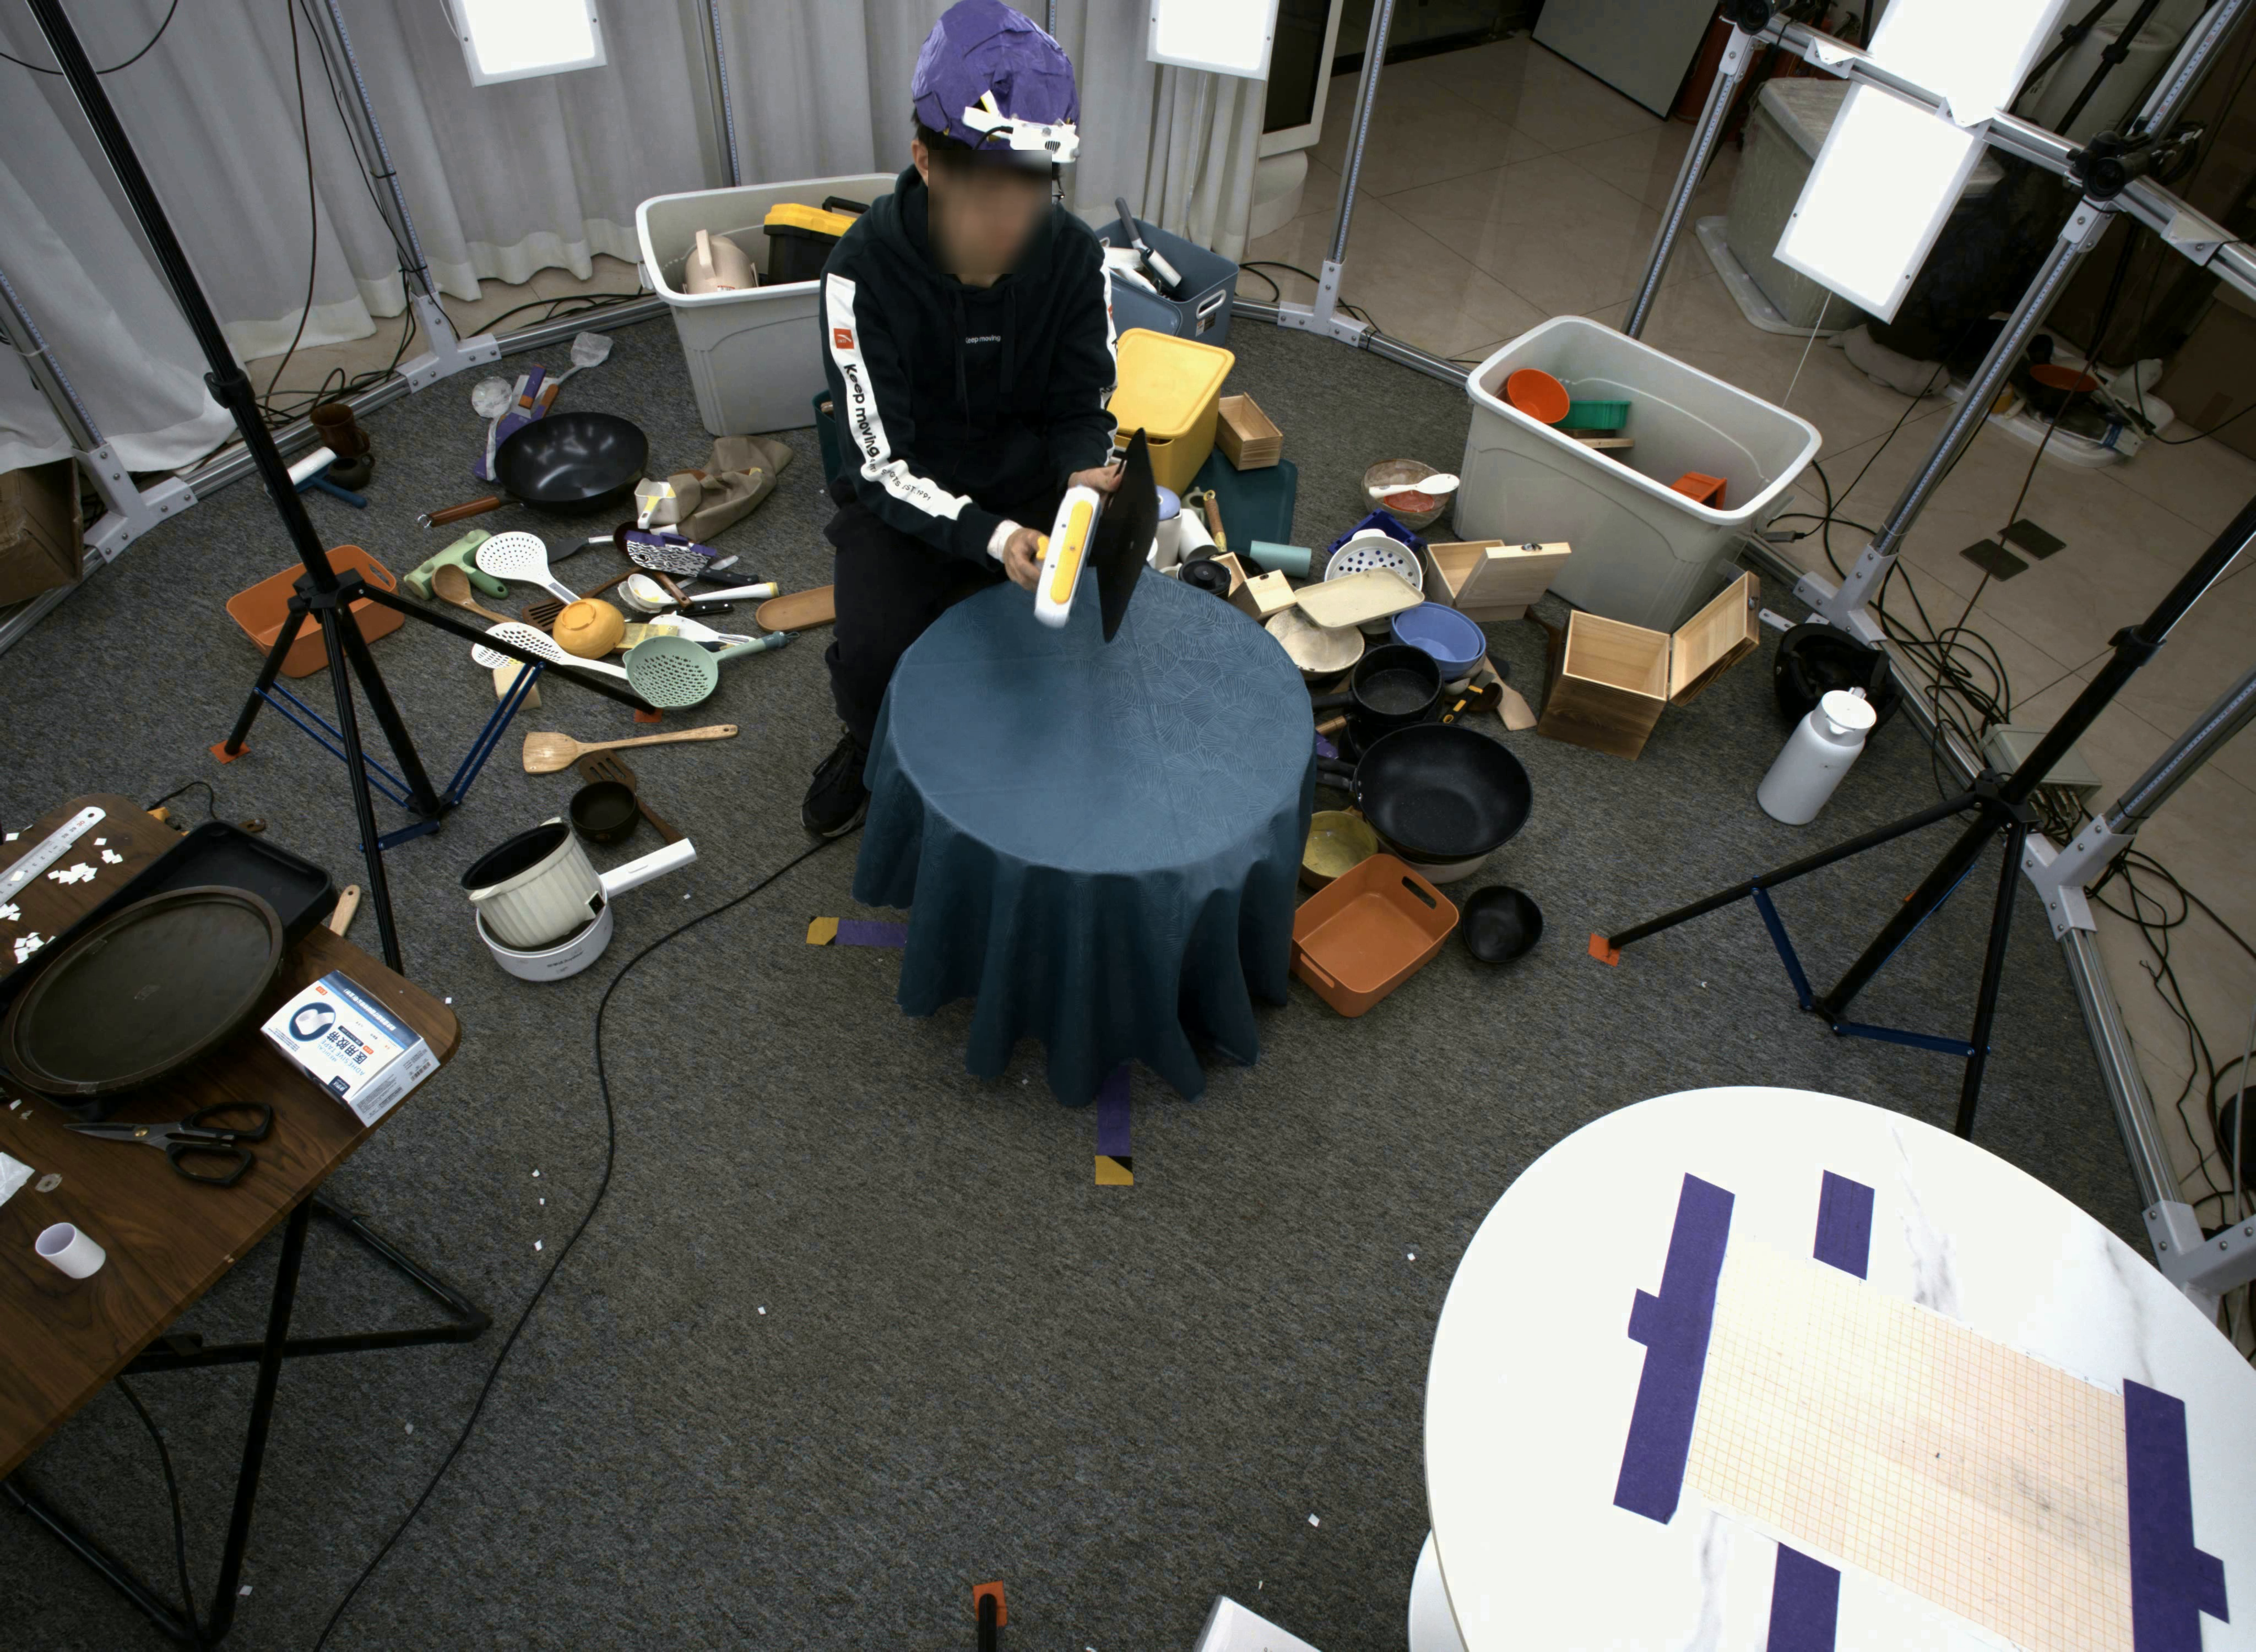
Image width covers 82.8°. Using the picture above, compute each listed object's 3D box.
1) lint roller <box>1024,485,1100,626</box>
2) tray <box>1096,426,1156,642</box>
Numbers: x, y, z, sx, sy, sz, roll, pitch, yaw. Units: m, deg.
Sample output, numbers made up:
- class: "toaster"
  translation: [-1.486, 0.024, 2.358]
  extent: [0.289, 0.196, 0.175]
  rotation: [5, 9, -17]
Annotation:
- class: "lint roller"
  translation: [-0.101, -0.362, 1.790]
  extent: [0.074, 0.192, 0.194]
  rotation: [12, 82, -12]
- class: "tray"
  translation: [-0.006, -0.409, 1.771]
  extent: [0.010, 0.207, 0.333]
  rotation: [13, 38, -15]
